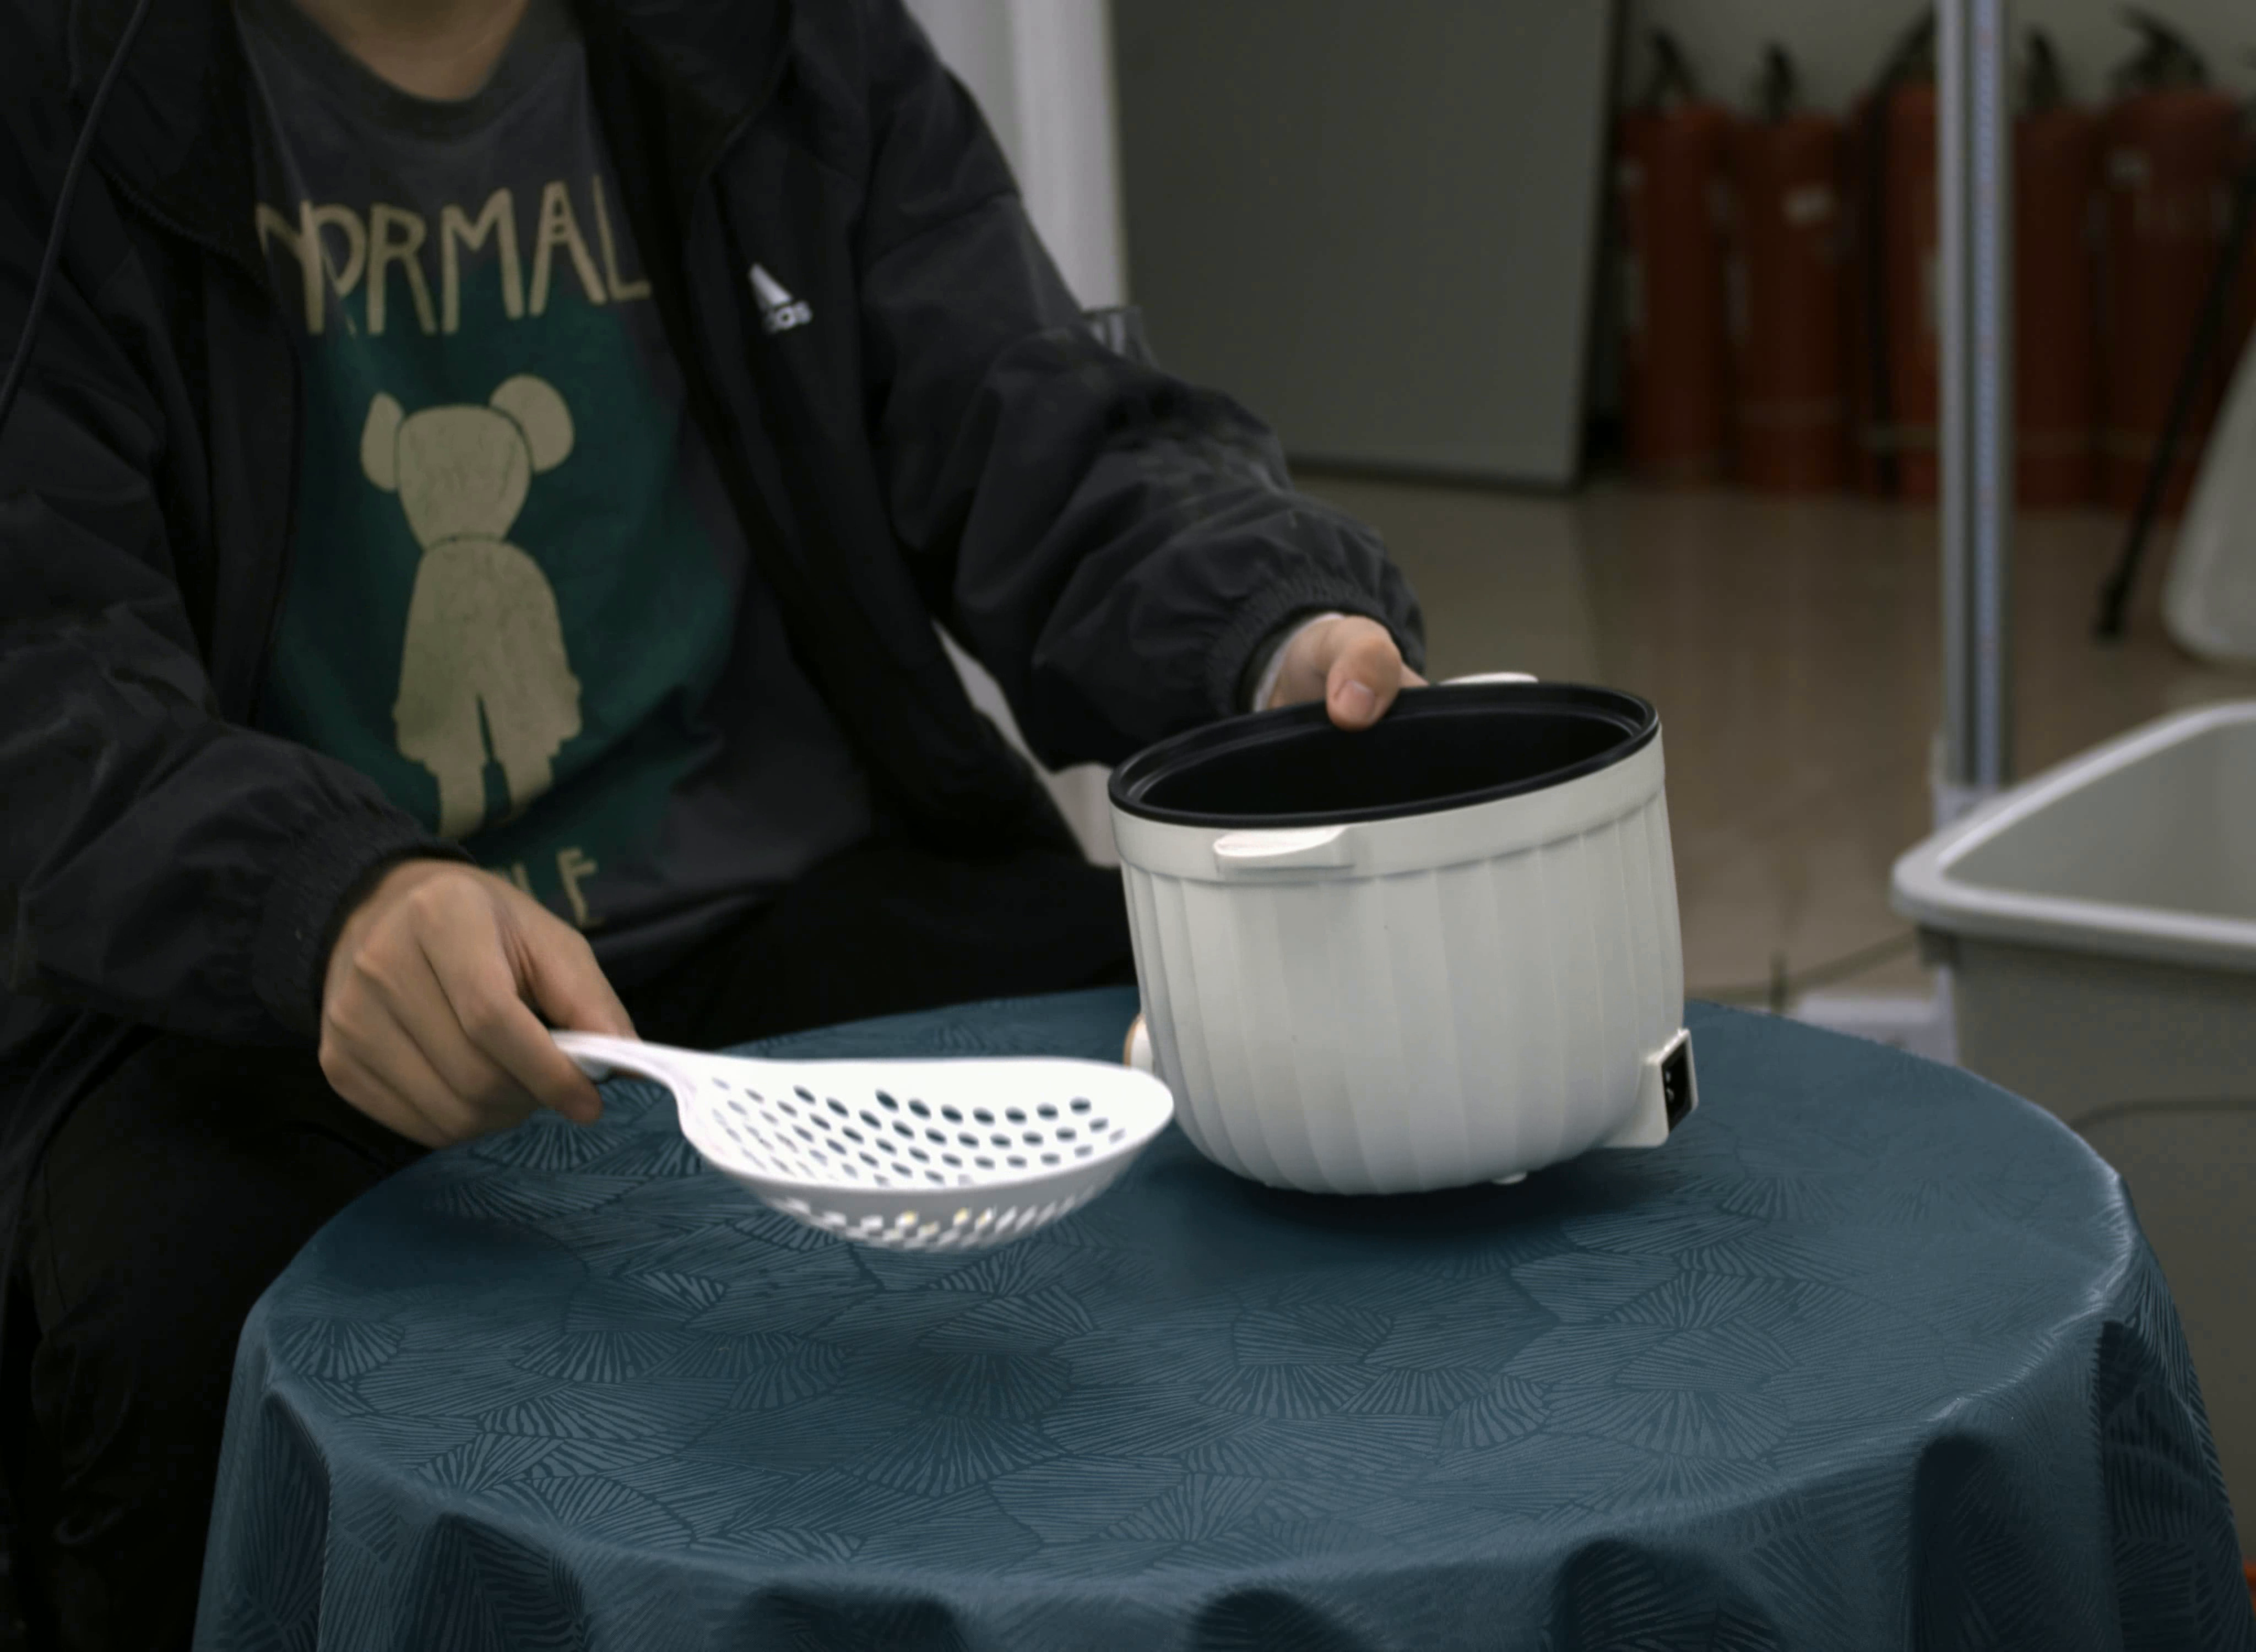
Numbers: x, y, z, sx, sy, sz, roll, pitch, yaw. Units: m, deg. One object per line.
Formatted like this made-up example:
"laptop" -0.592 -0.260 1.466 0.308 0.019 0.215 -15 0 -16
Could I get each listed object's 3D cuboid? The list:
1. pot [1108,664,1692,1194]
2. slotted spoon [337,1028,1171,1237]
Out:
"pot" 0.085 0.037 1.753 0.190 0.144 0.237 0 13 23
"slotted spoon" -0.132 0.084 1.683 0.134 0.051 0.351 -19 21 -42
